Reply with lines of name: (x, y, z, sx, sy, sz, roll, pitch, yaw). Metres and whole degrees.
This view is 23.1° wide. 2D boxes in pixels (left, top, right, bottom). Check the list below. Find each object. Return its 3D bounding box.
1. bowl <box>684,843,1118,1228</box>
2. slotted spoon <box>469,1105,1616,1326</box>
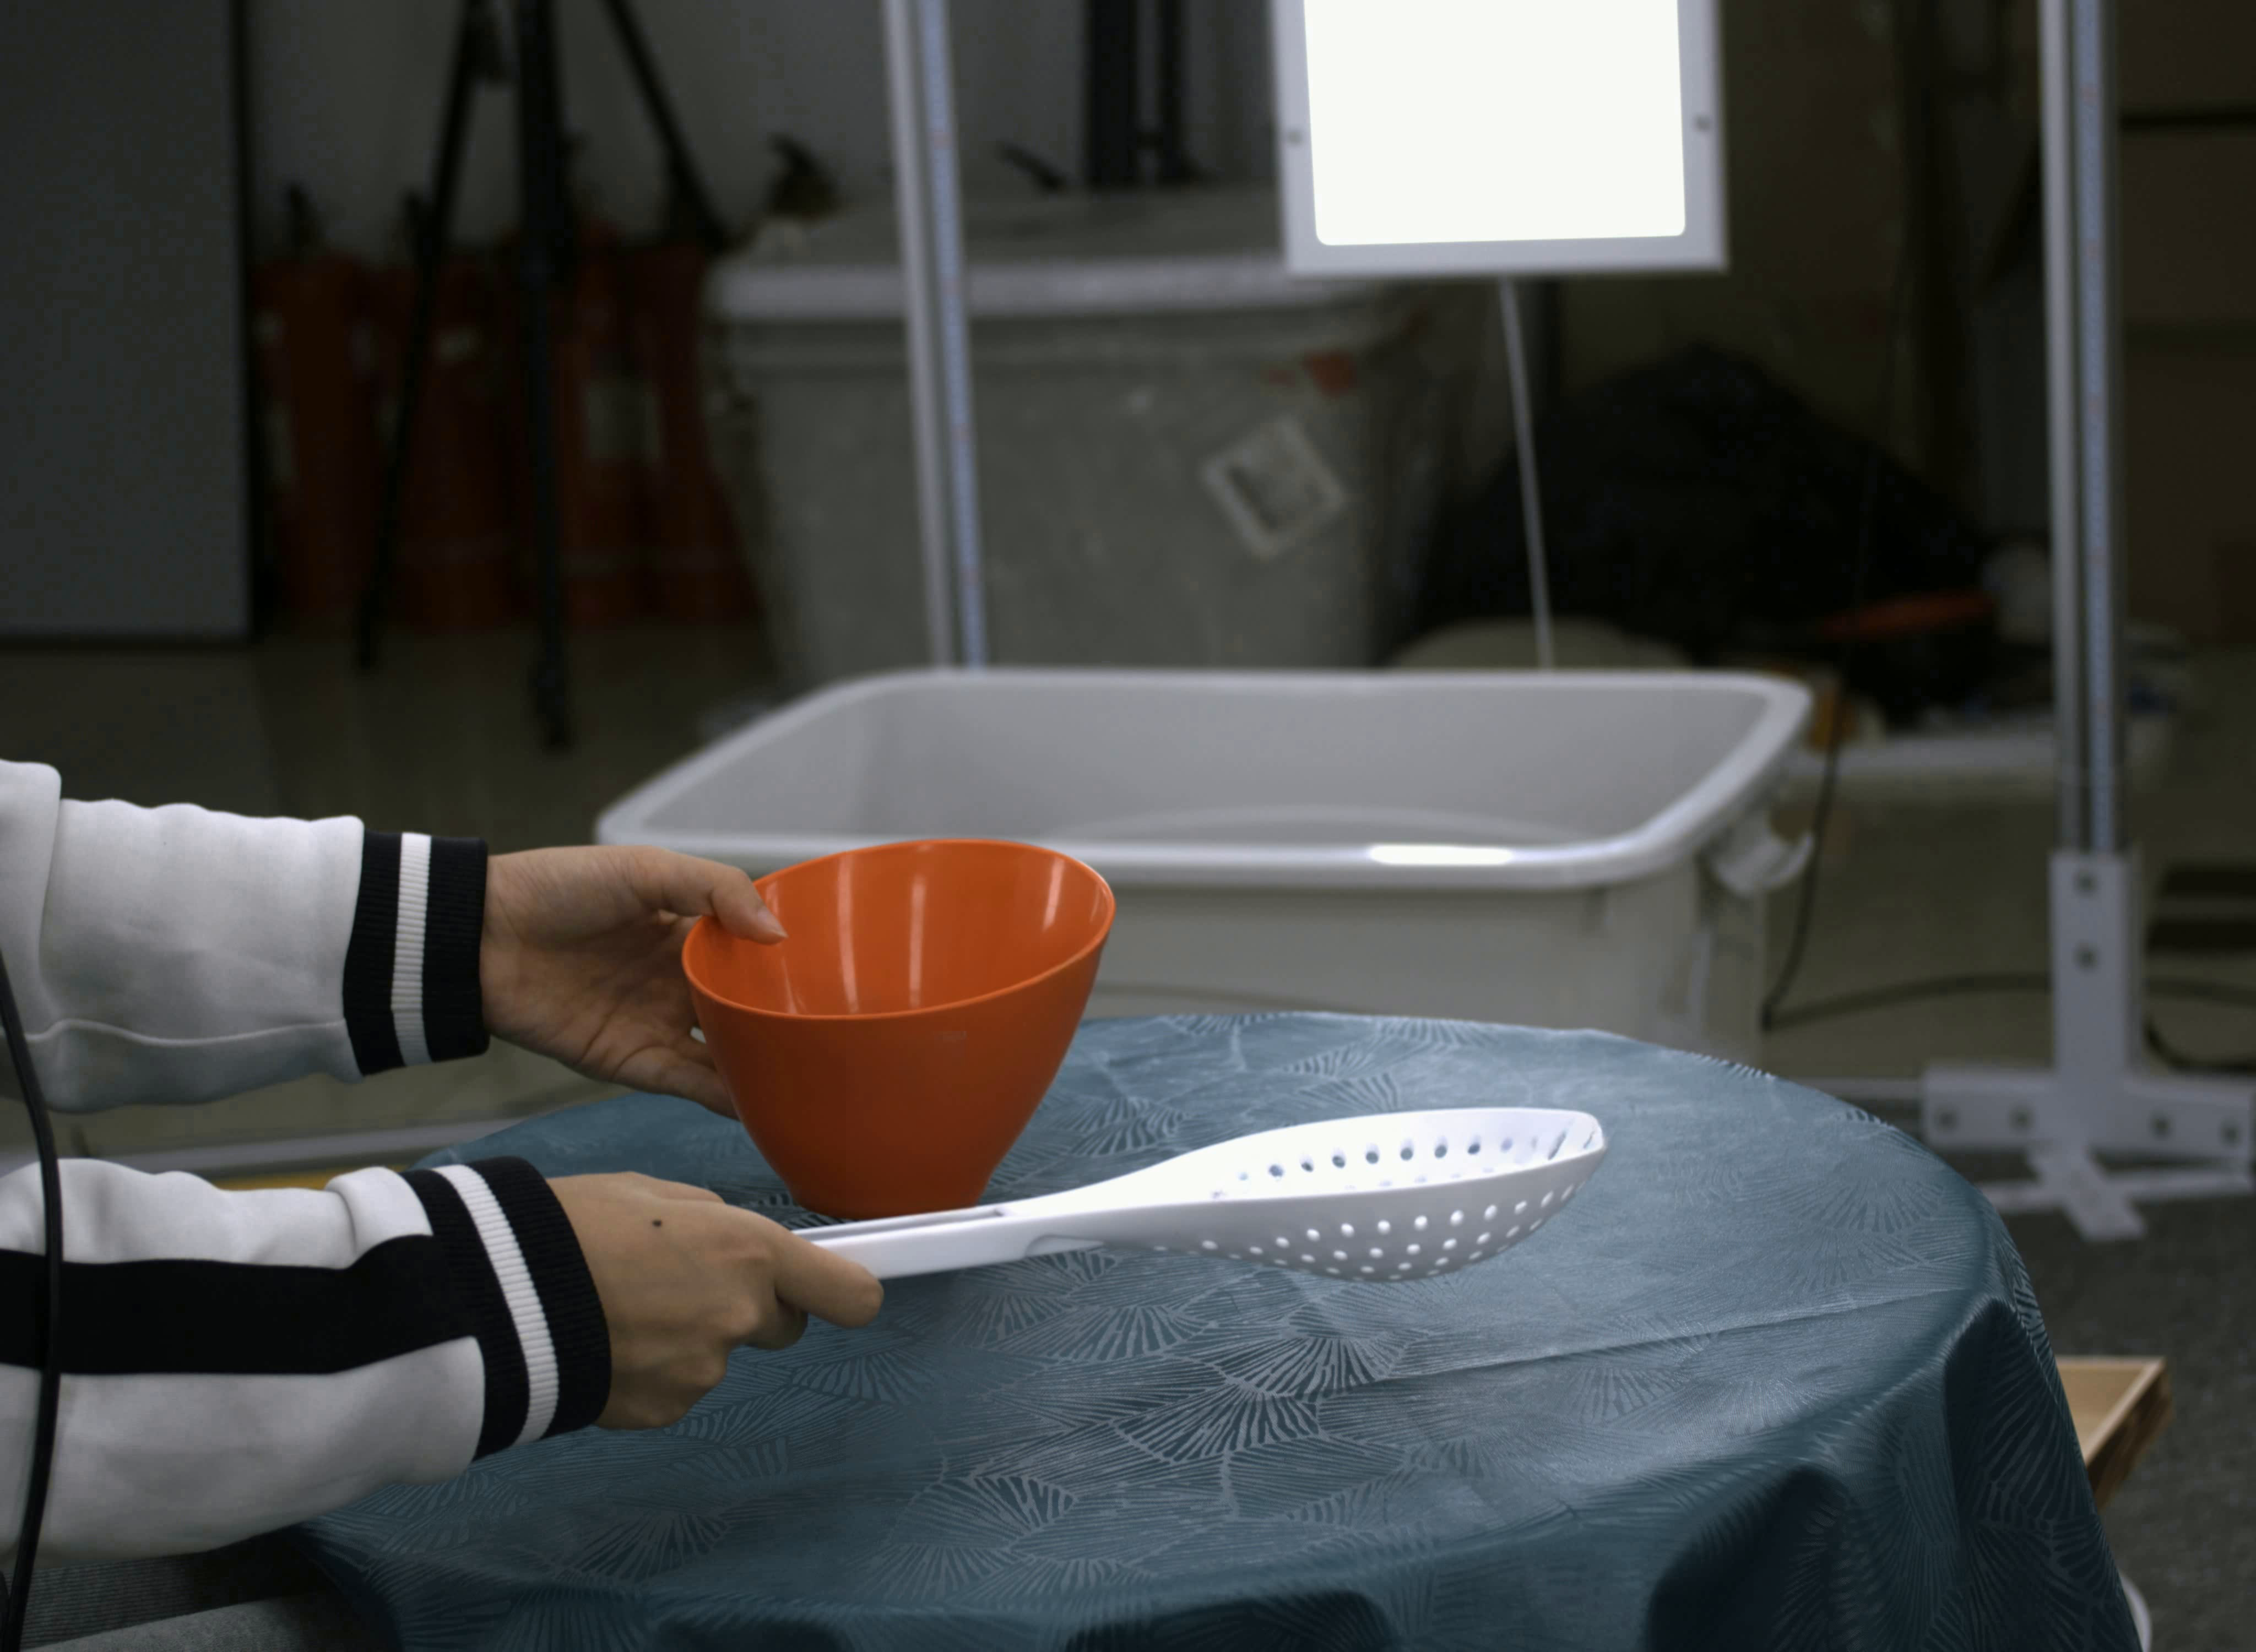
bowl: (-0.077, 0.075, 1.877, 0.147, 0.105, 0.148, -1, 16, -1)
slotted spoon: (-0.023, 0.117, 1.646, 0.345, 0.046, 0.137, -2, 4, -12)
